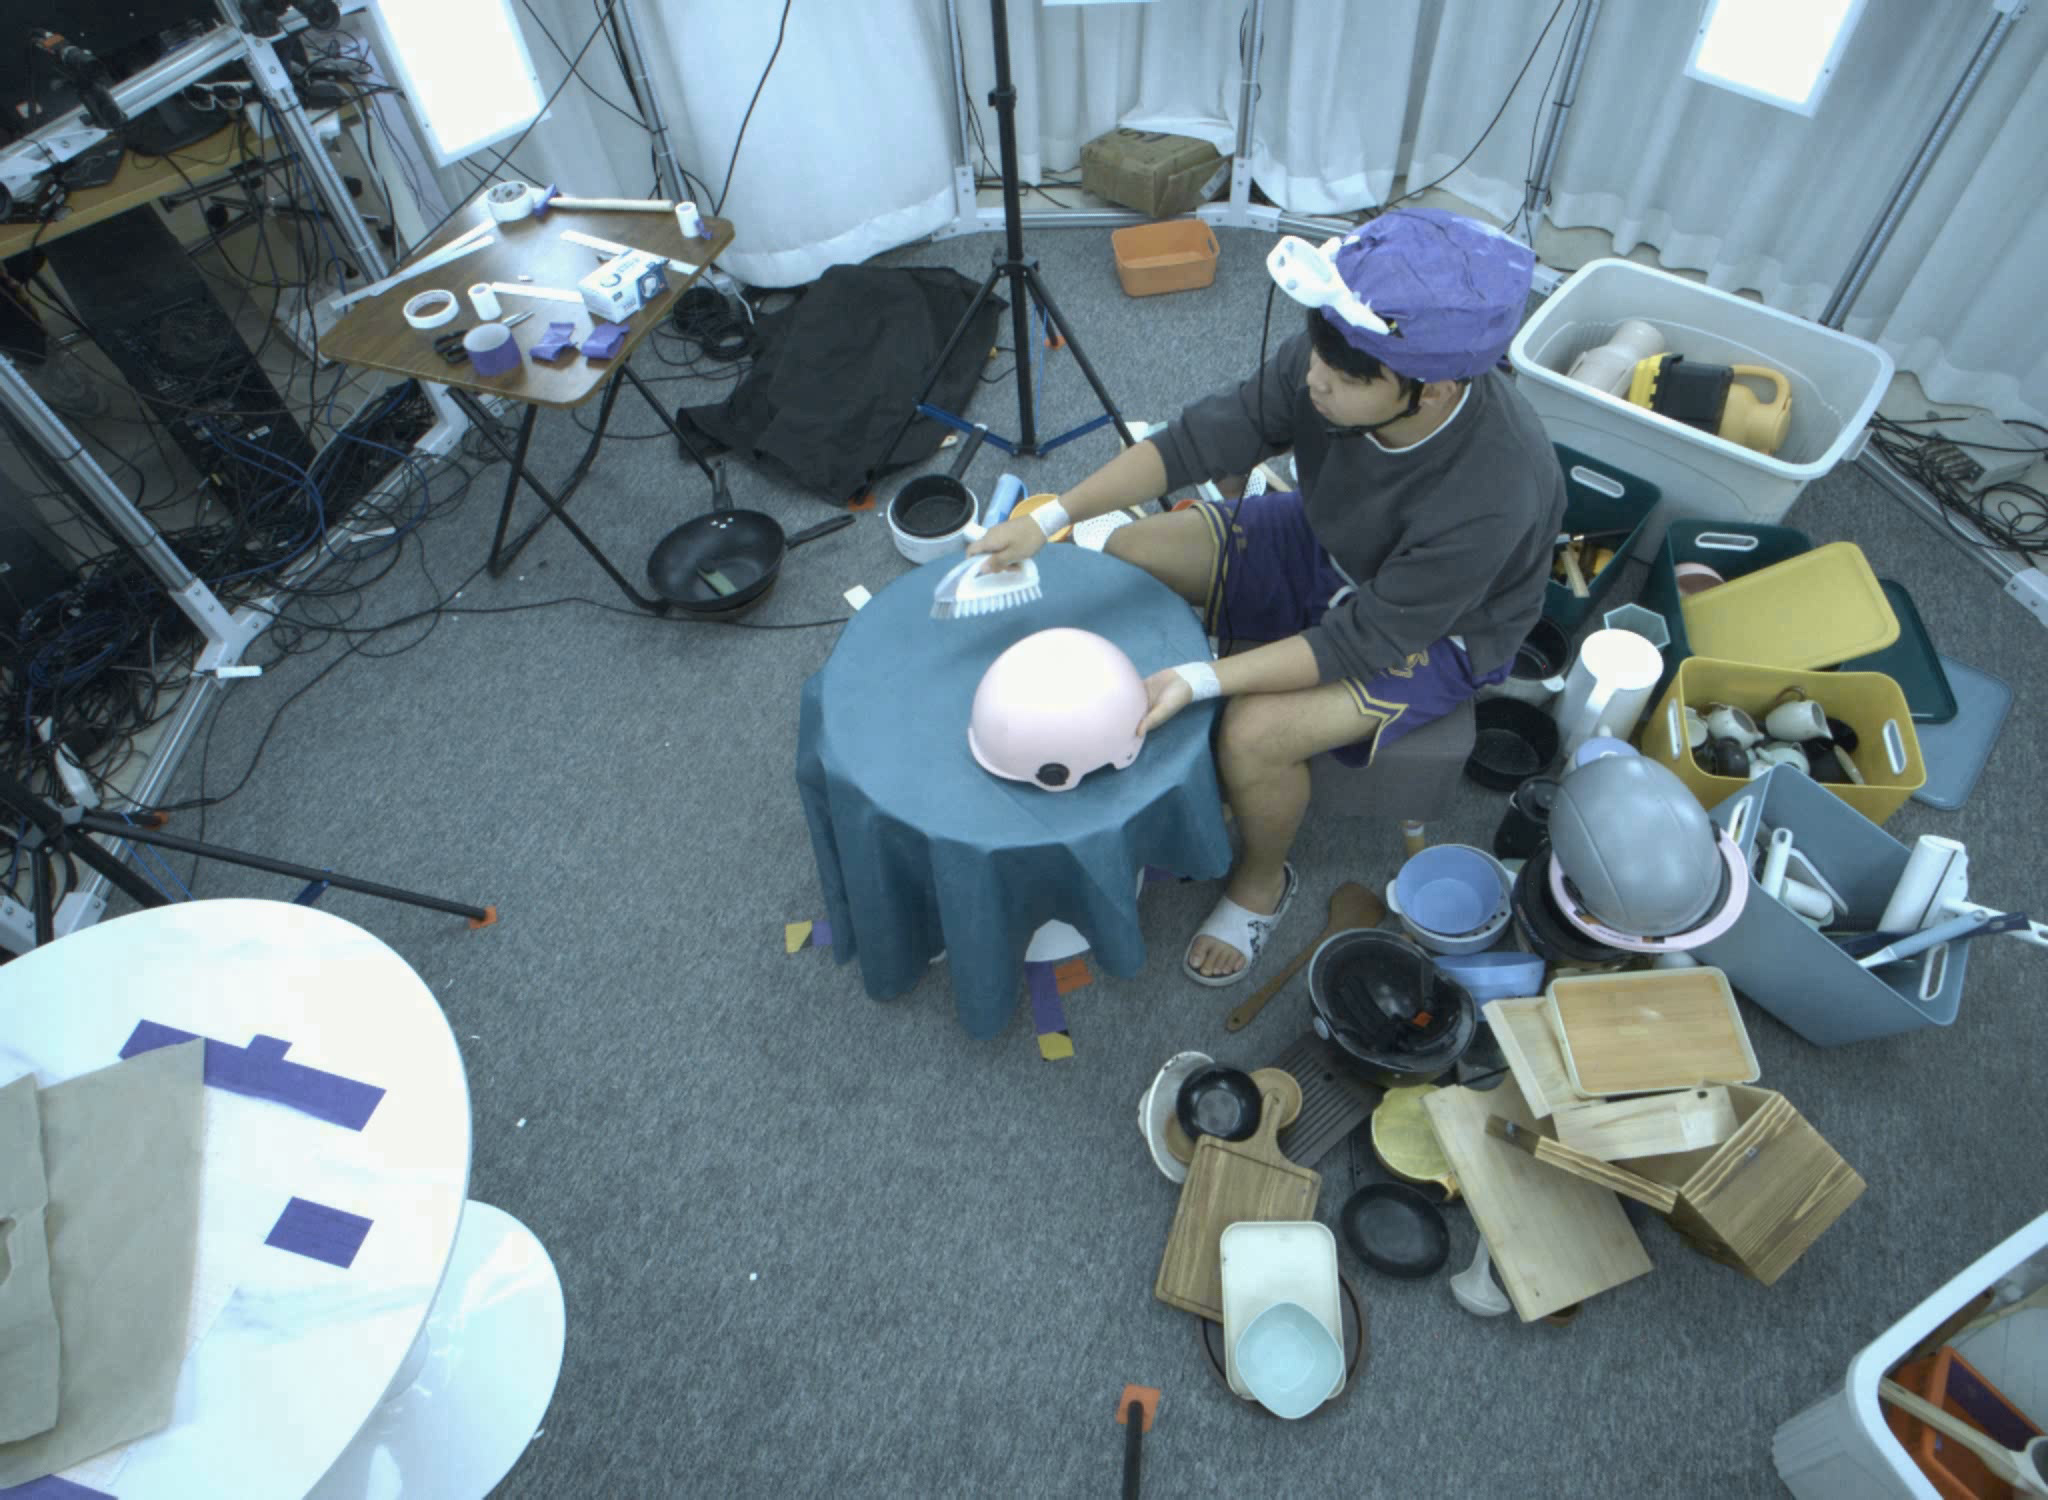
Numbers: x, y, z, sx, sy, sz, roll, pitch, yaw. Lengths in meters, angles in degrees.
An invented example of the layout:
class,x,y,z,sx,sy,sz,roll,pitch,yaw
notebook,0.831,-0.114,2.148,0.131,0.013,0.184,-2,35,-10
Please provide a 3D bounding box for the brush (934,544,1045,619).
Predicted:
class,x,y,z,sx,sy,sz,roll,pitch,yaw
brush,-0.059,-0.257,1.852,0.177,0.095,0.060,-18,37,-15

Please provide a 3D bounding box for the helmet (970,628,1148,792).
class,x,y,z,sx,sy,sz,roll,pitch,yaw
helmet,0.041,-0.076,1.749,0.266,0.161,0.230,-14,55,-1
